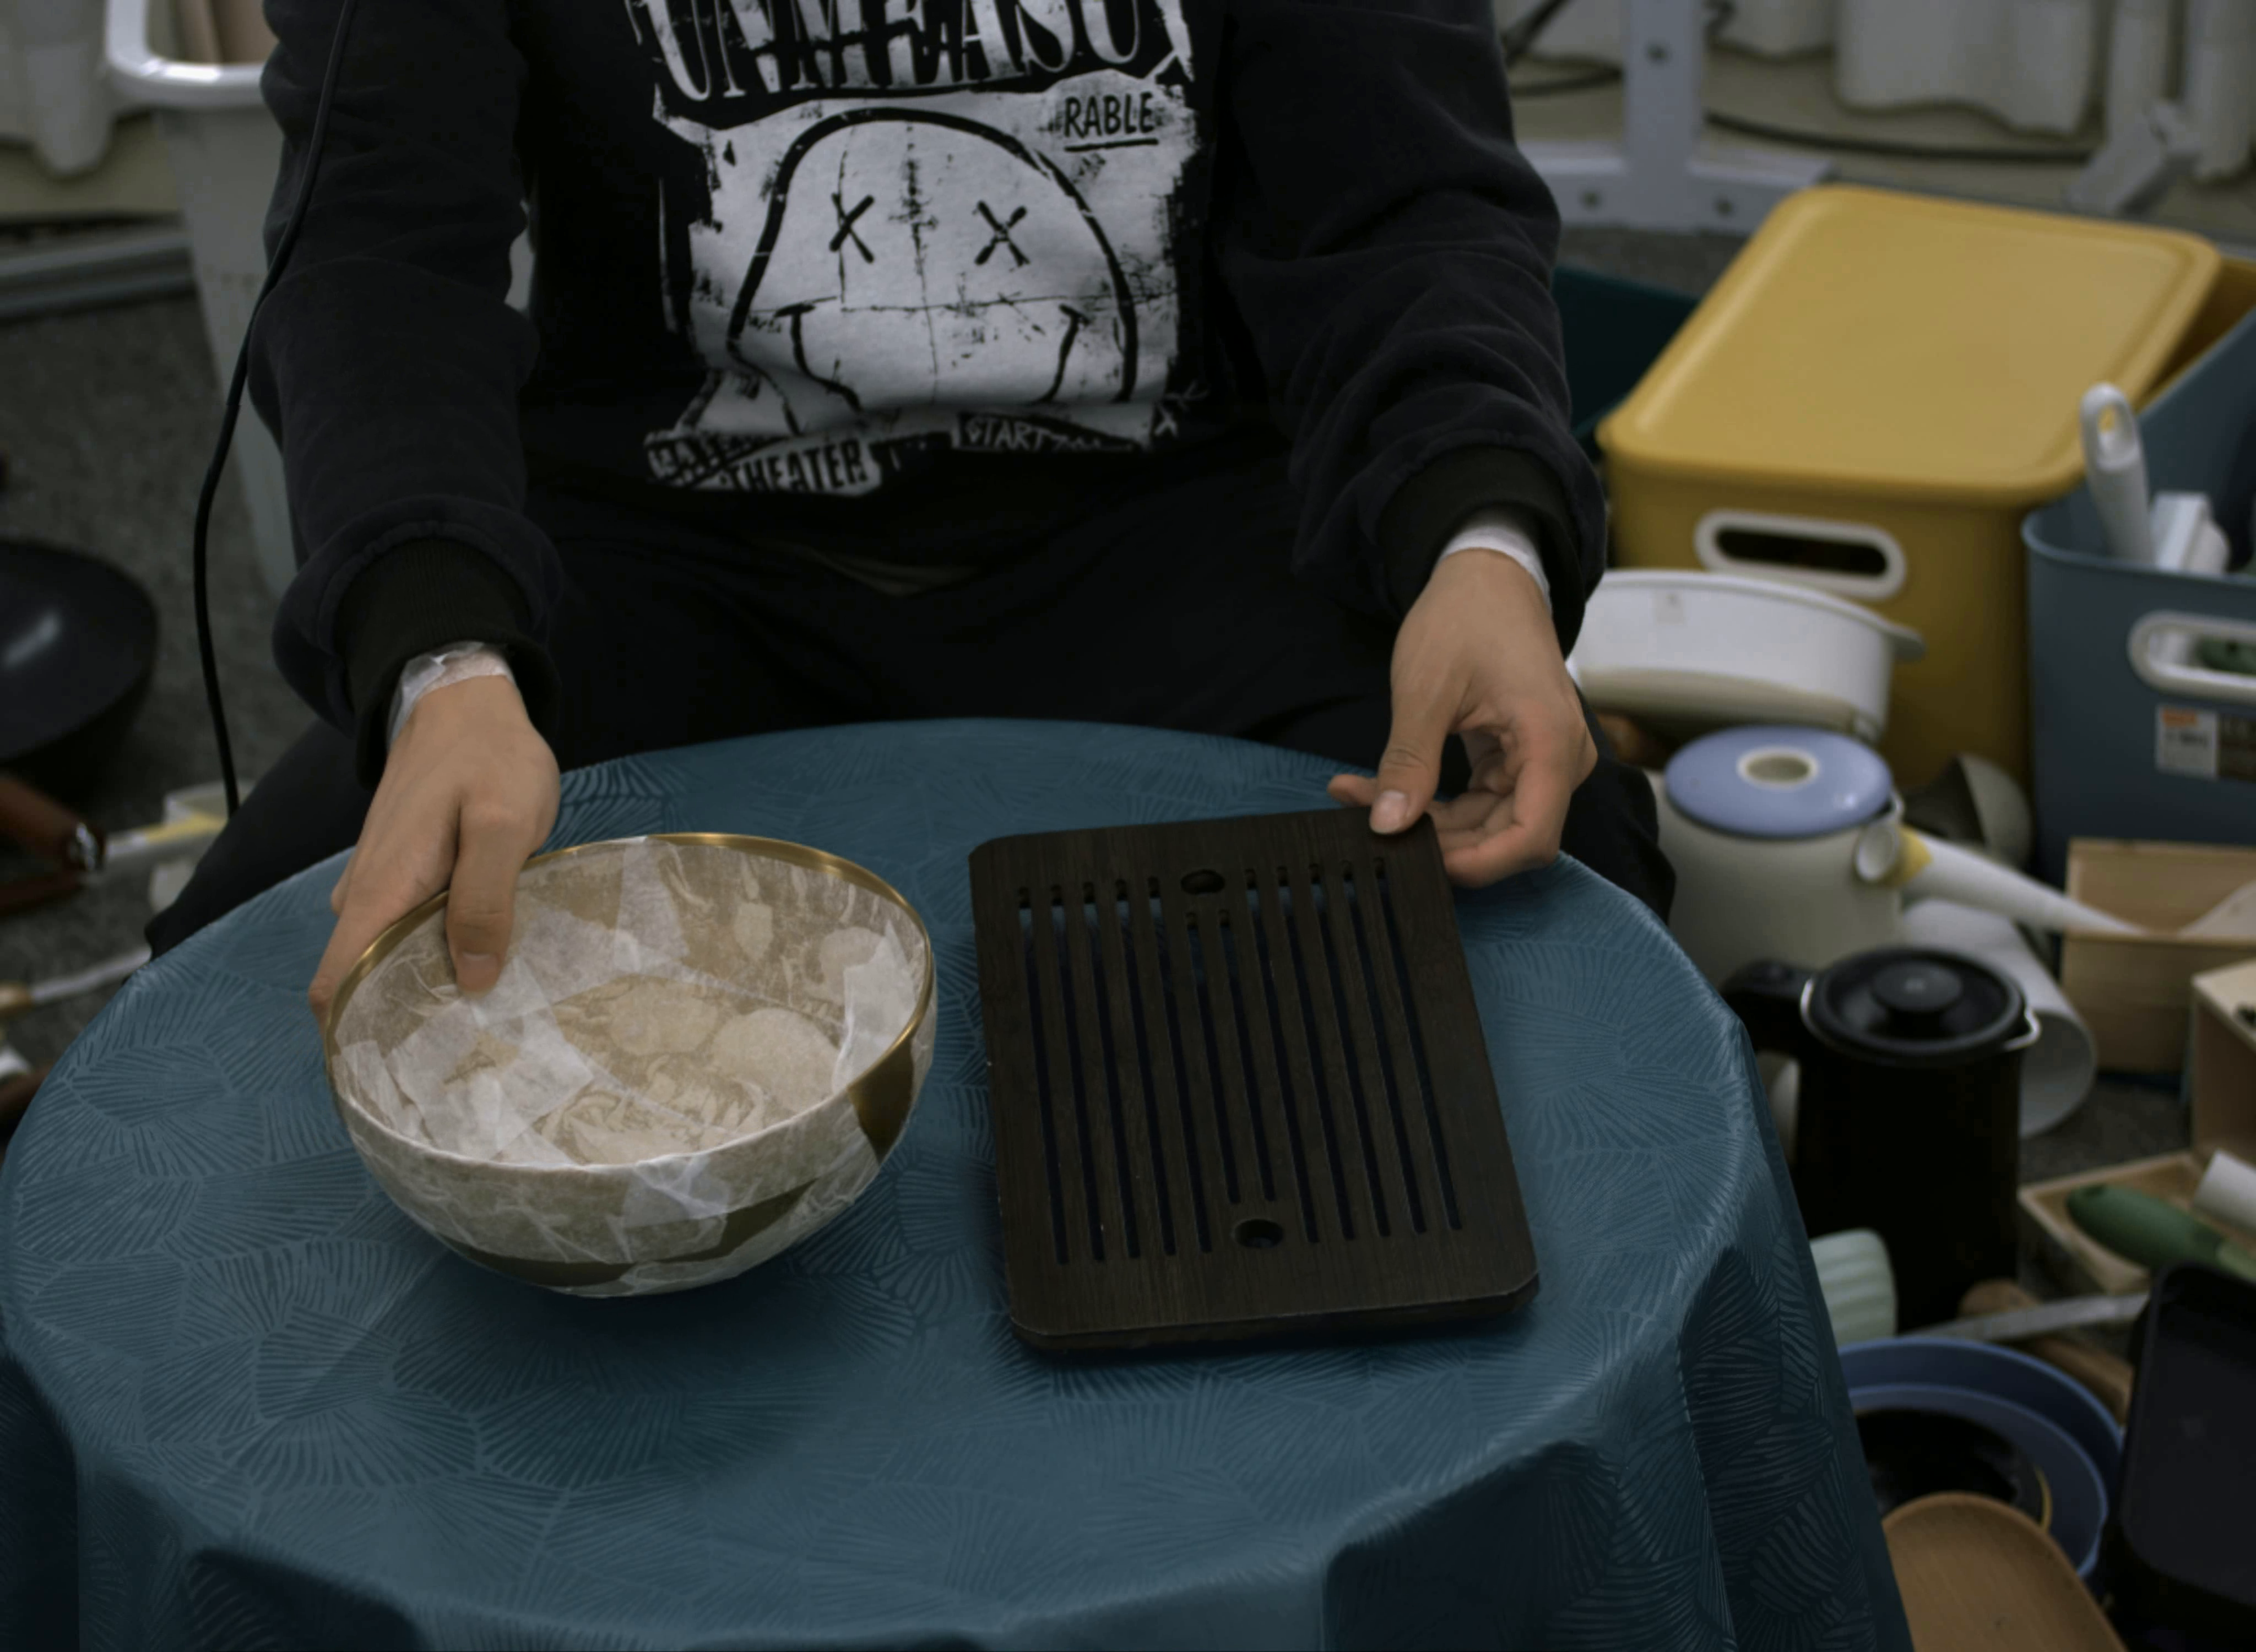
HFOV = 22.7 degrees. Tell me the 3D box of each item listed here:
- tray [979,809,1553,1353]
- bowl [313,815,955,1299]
[{"bbox_3d":[0.040,0.083,1.897,0.169,0.018,0.310,-4,30,-2],"label":"tray"},{"bbox_3d":[-0.155,0.090,1.834,0.213,0.093,0.218,-5,30,3],"label":"bowl"}]
